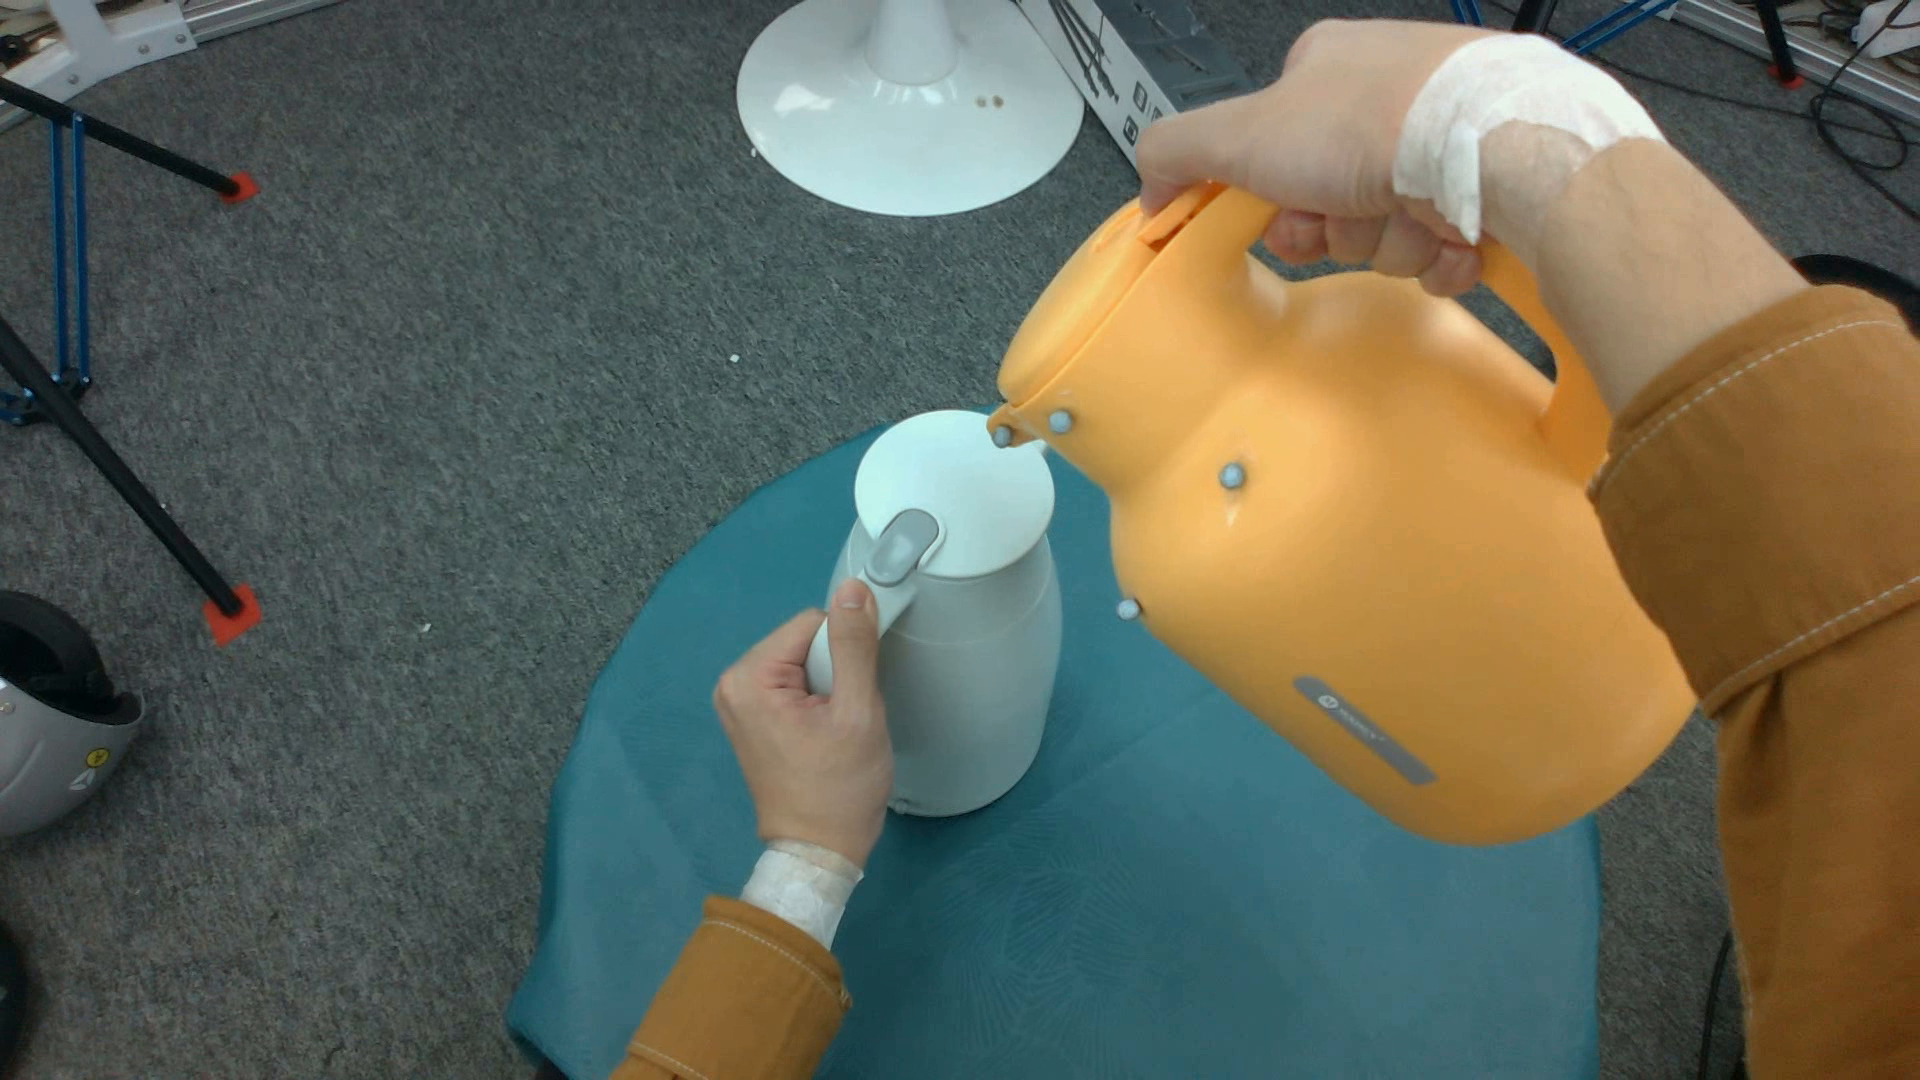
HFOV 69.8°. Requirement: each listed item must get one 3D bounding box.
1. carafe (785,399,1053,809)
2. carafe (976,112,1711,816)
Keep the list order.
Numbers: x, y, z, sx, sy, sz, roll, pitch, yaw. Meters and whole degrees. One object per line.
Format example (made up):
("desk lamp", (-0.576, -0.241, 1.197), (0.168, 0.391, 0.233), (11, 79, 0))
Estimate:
("carafe", (-0.024, 0.047, 0.712), (0.132, 0.247, 0.168), (35, 62, 17))
("carafe", (0.141, -0.030, 0.498), (0.260, 0.201, 0.164), (34, 52, -11))
